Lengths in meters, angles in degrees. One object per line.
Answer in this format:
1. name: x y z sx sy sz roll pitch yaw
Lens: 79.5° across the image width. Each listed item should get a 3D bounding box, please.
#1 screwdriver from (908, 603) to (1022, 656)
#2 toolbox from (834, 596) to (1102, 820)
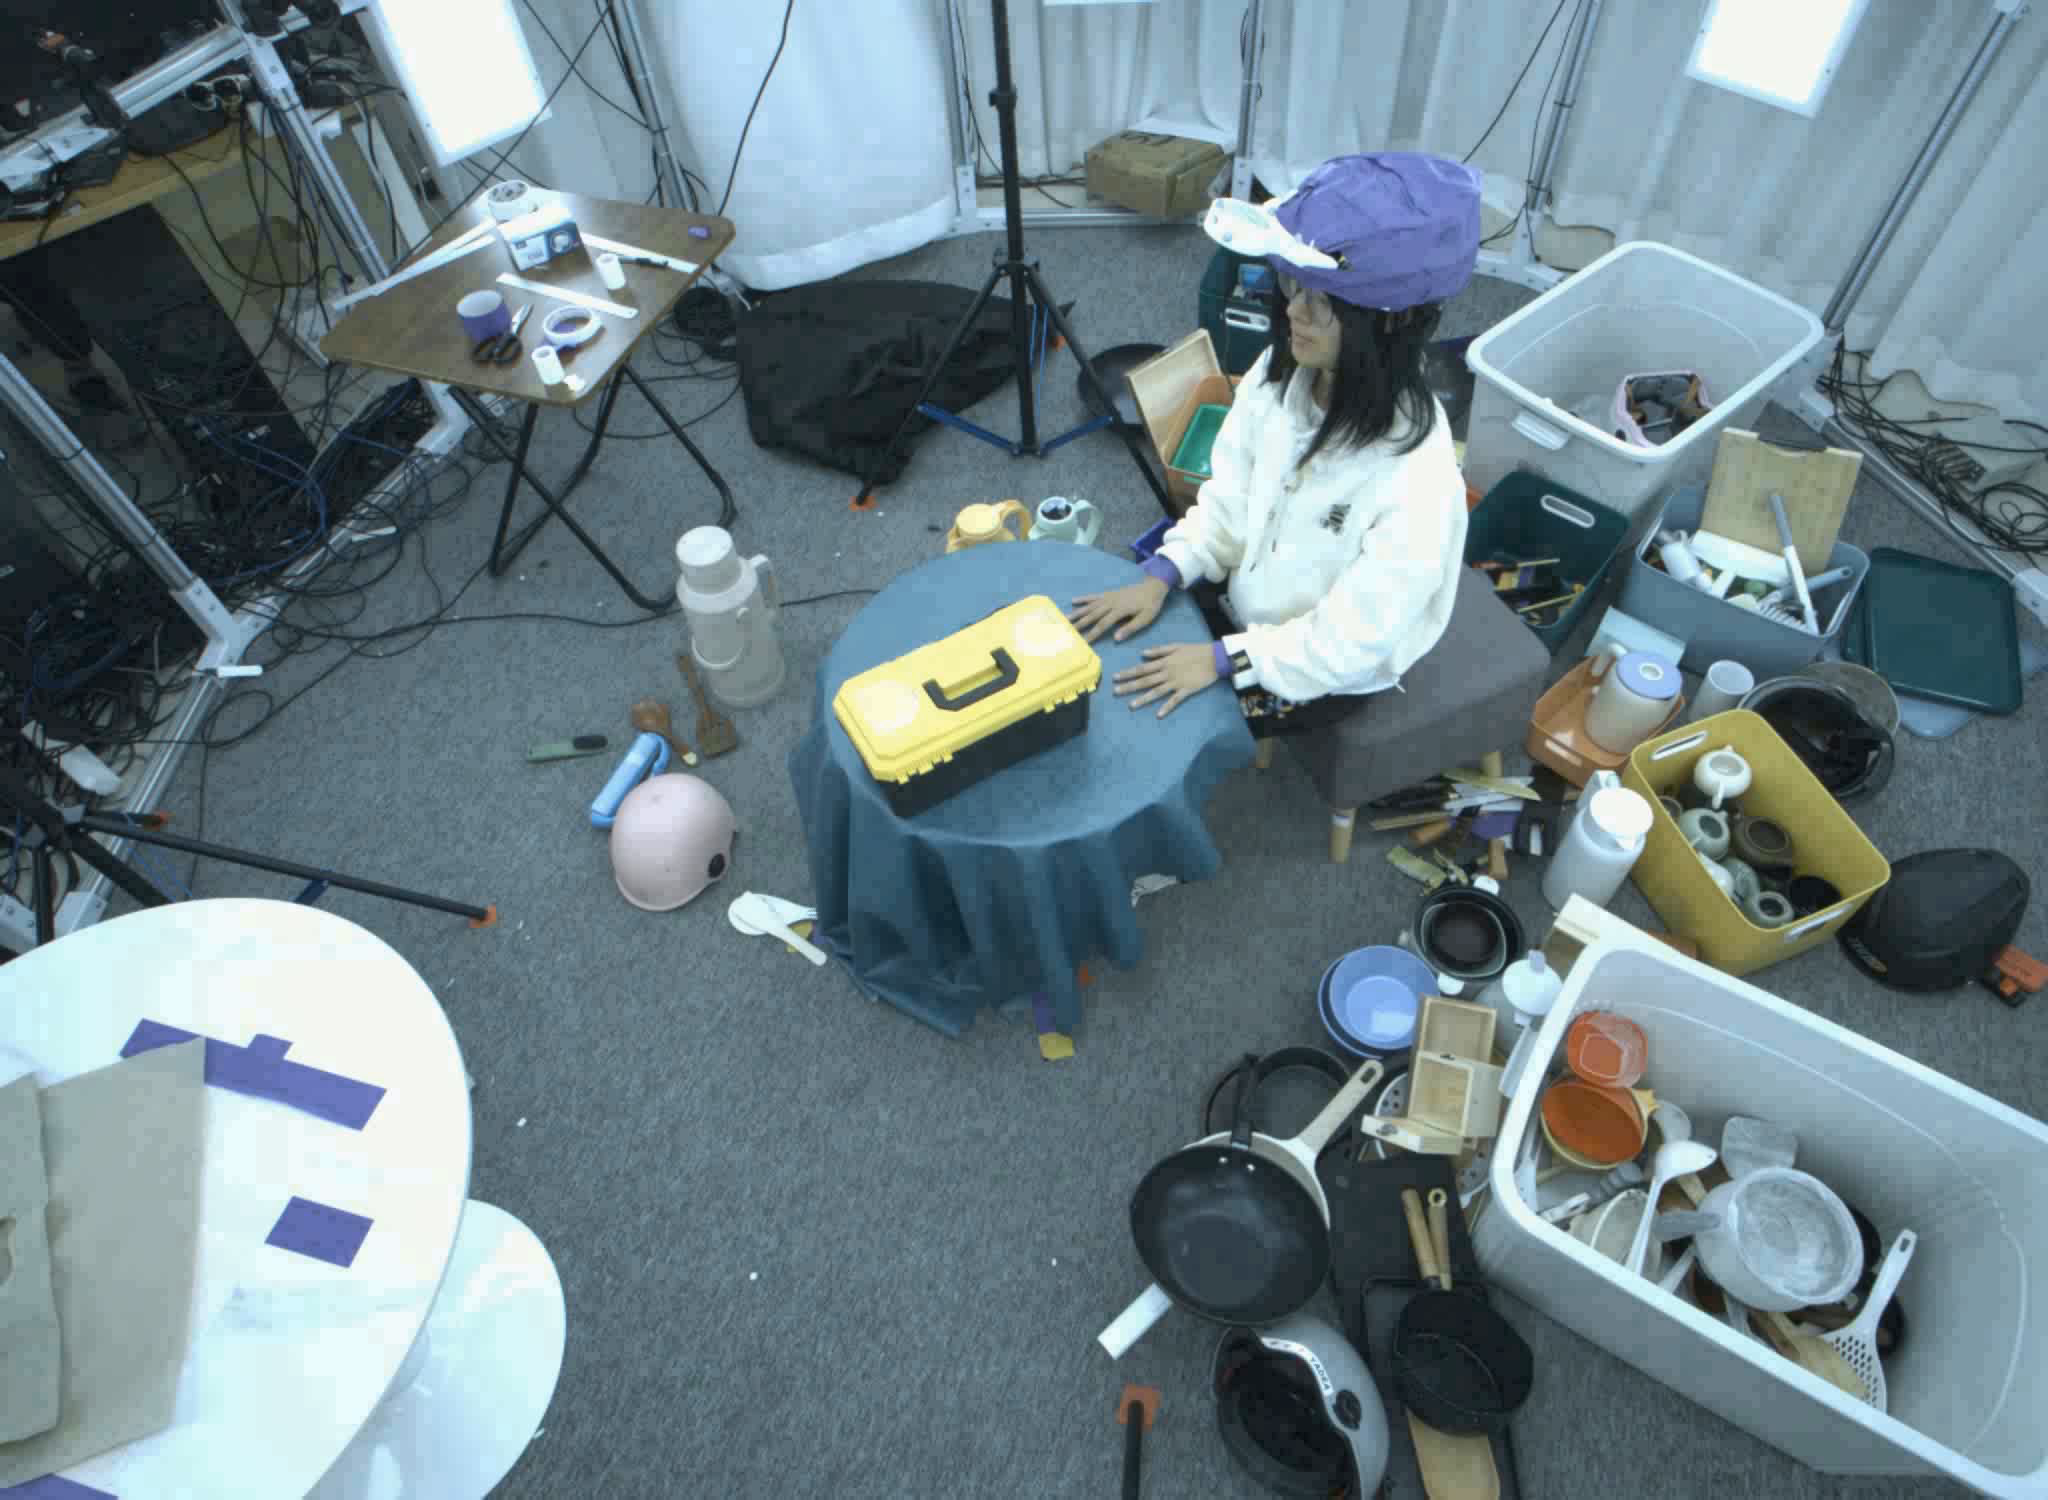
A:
1. screwdriver: -0.090 -0.182 1.913 0.199 0.032 0.031 -24 57 -9
2. toolbox: -0.074 -0.059 1.725 0.354 0.175 0.178 -26 57 -15
